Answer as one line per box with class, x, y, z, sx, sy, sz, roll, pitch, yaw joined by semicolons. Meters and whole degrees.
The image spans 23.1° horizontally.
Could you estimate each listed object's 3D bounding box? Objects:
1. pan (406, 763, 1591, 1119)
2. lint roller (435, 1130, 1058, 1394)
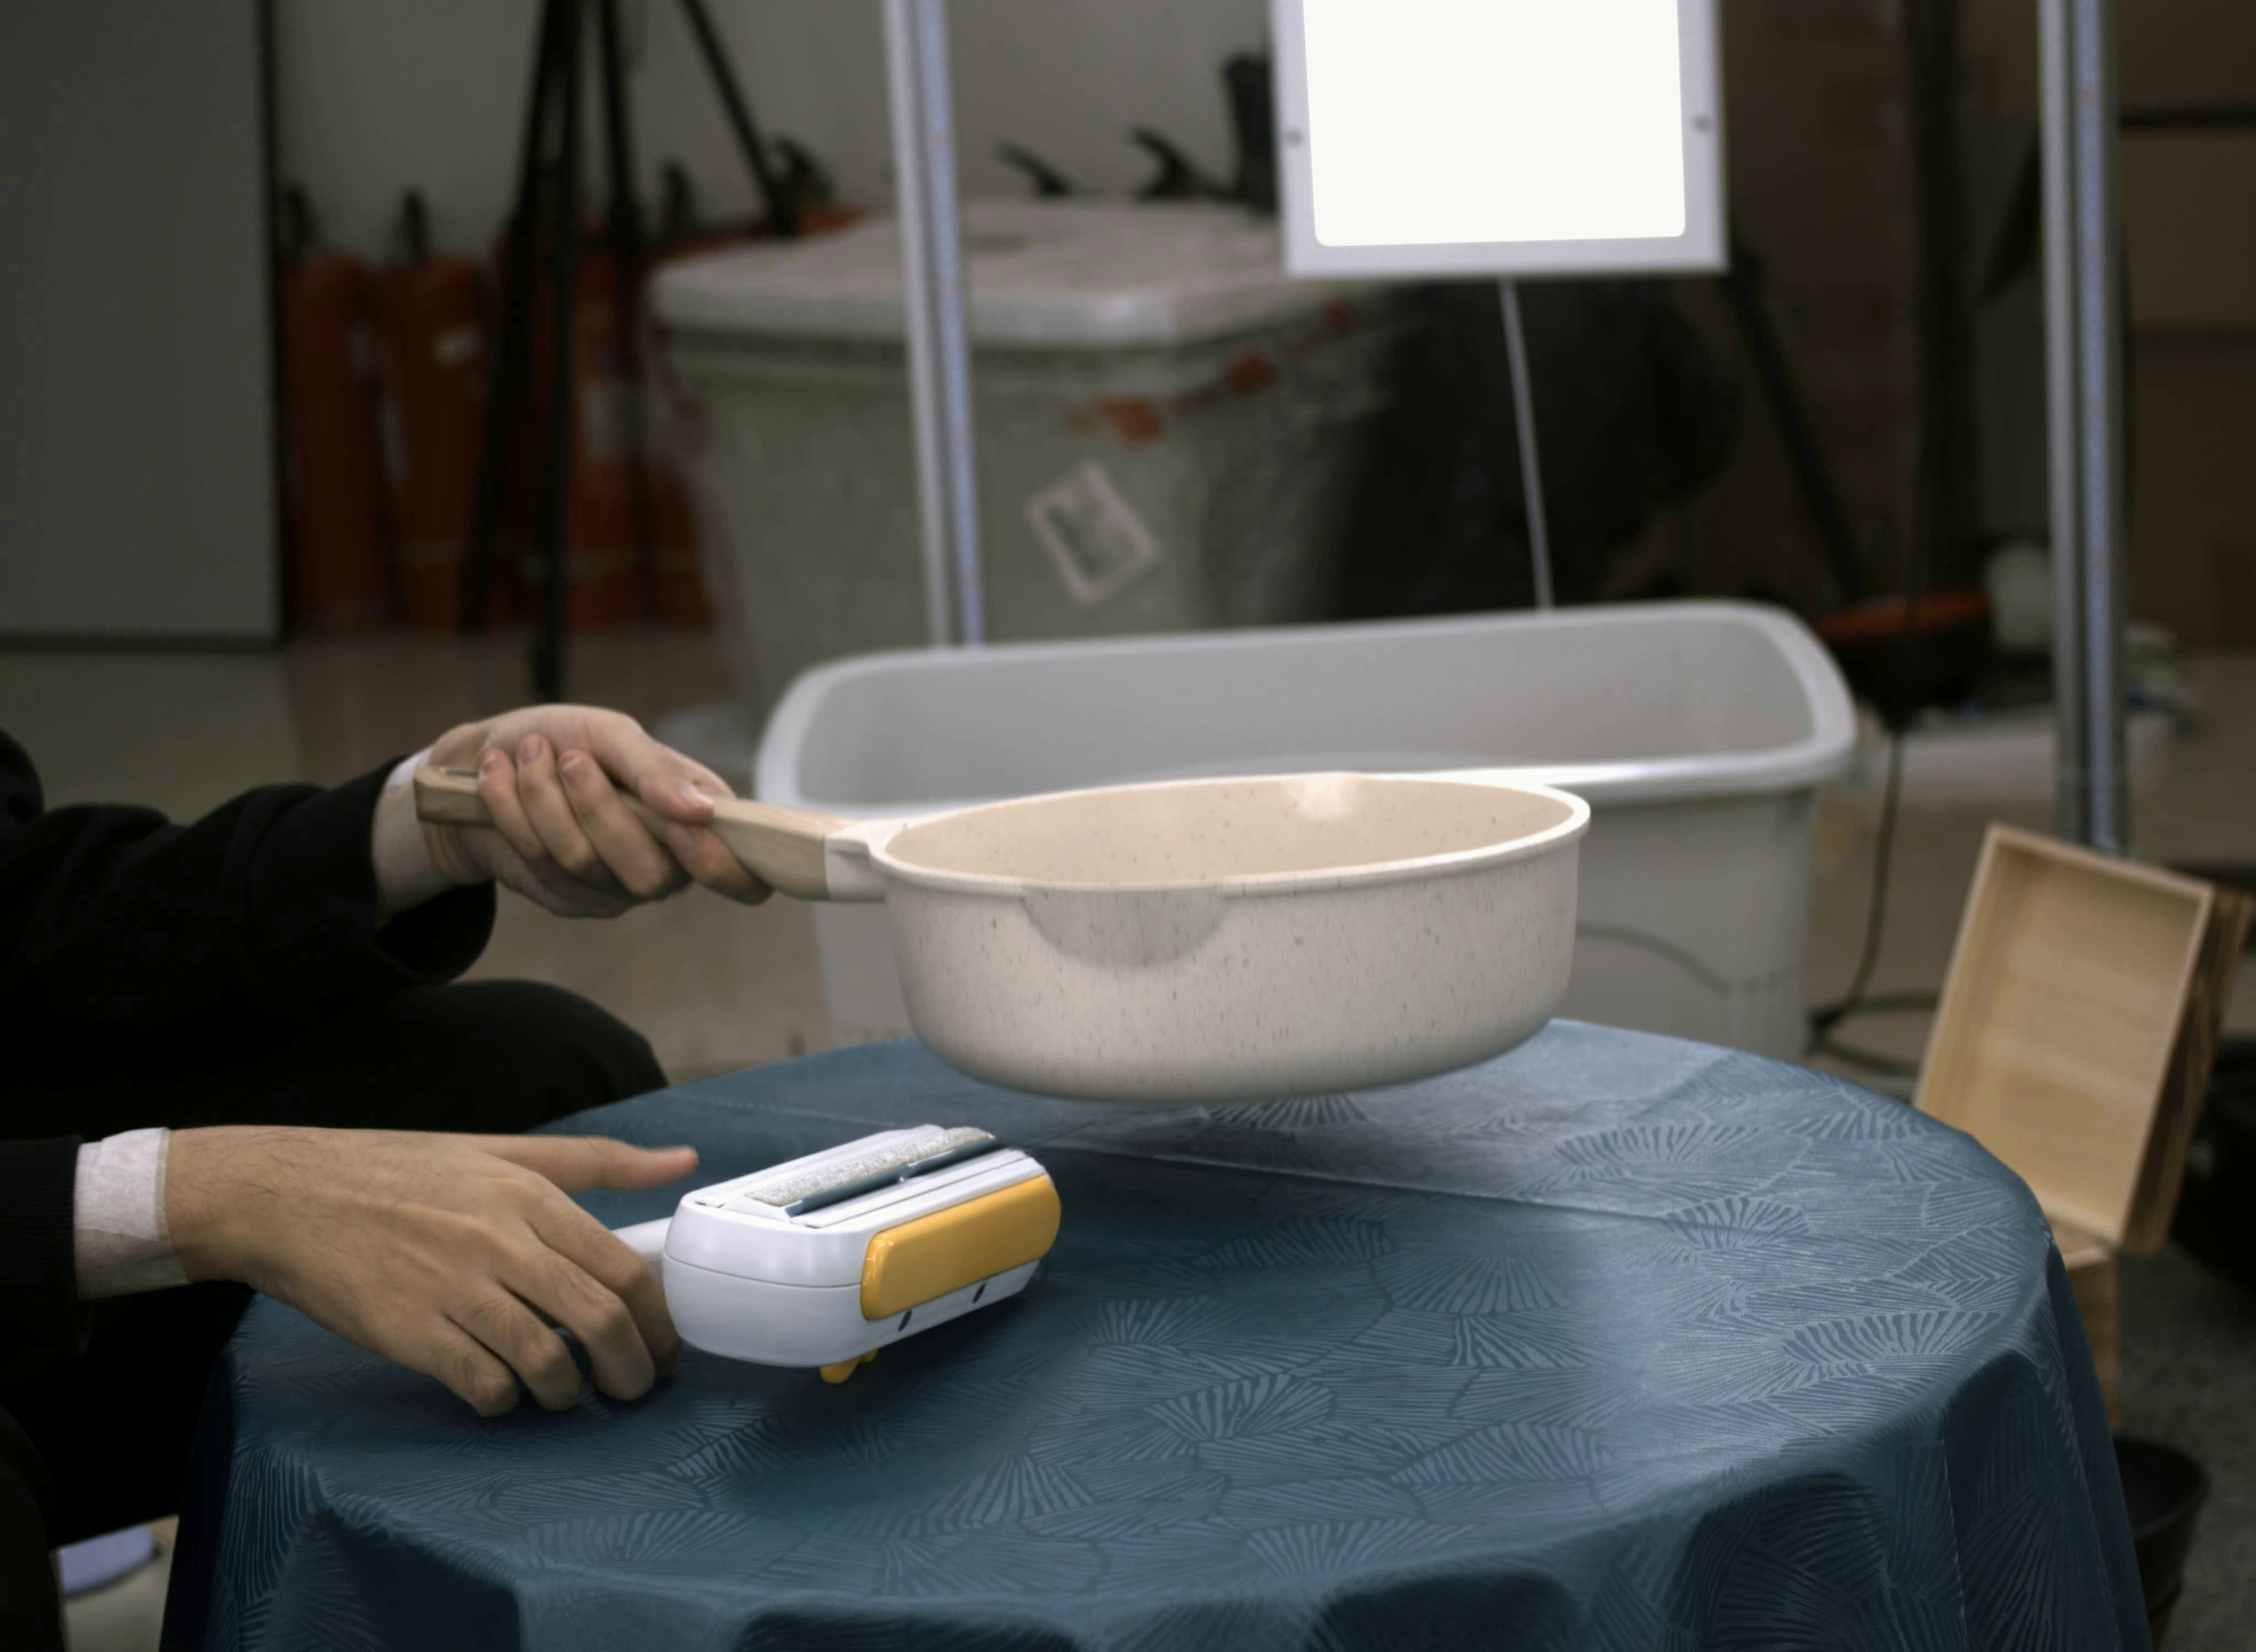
pan;-0.050;0.034;1.944;0.440;0.102;0.259;-1;11;20
lint roller;-0.137;0.138;1.756;0.196;0.074;0.189;1;9;27
